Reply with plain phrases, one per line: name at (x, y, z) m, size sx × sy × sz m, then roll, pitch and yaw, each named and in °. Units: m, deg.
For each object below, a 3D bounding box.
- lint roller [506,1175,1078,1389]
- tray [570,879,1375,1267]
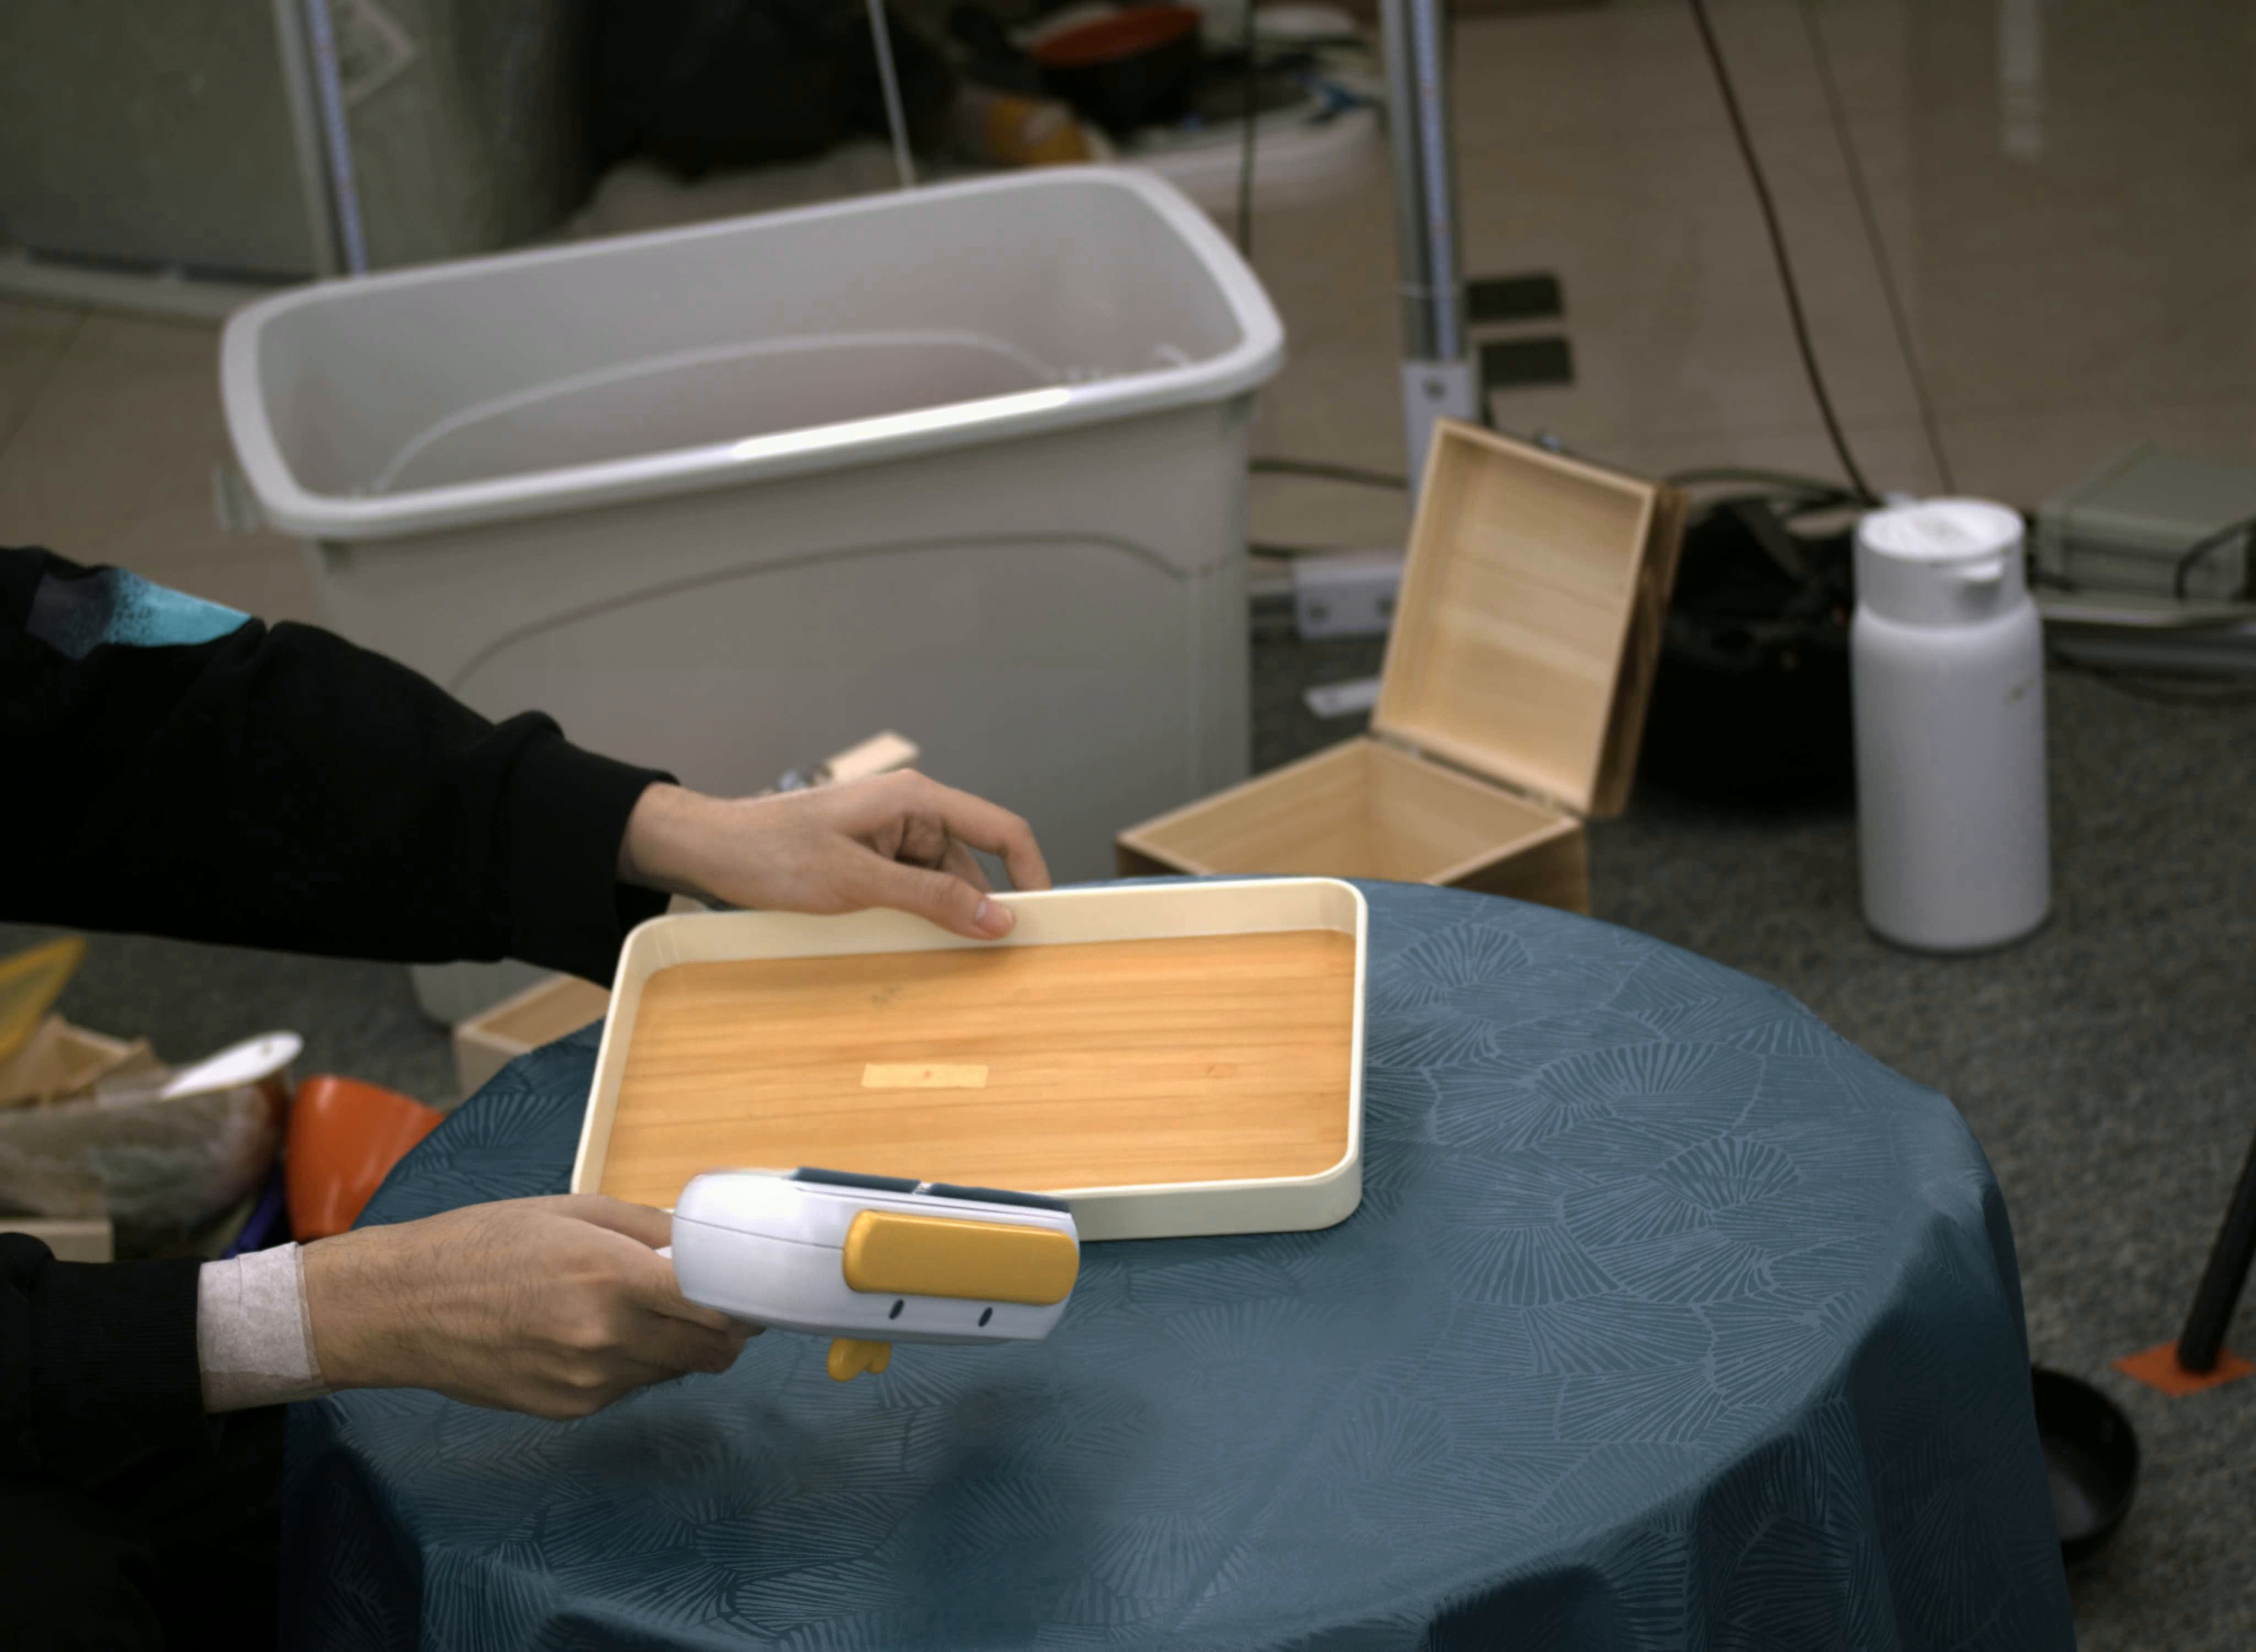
lint roller at (-0.136, 0.156, 1.967) m, size 0.192 × 0.074 × 0.193 m, roll -2°, pitch -2°, yaw 33°
tray at (-0.056, 0.094, 2.183) m, size 0.300 × 0.028 × 0.188 m, roll -3°, pitch 37°, yaw 7°
